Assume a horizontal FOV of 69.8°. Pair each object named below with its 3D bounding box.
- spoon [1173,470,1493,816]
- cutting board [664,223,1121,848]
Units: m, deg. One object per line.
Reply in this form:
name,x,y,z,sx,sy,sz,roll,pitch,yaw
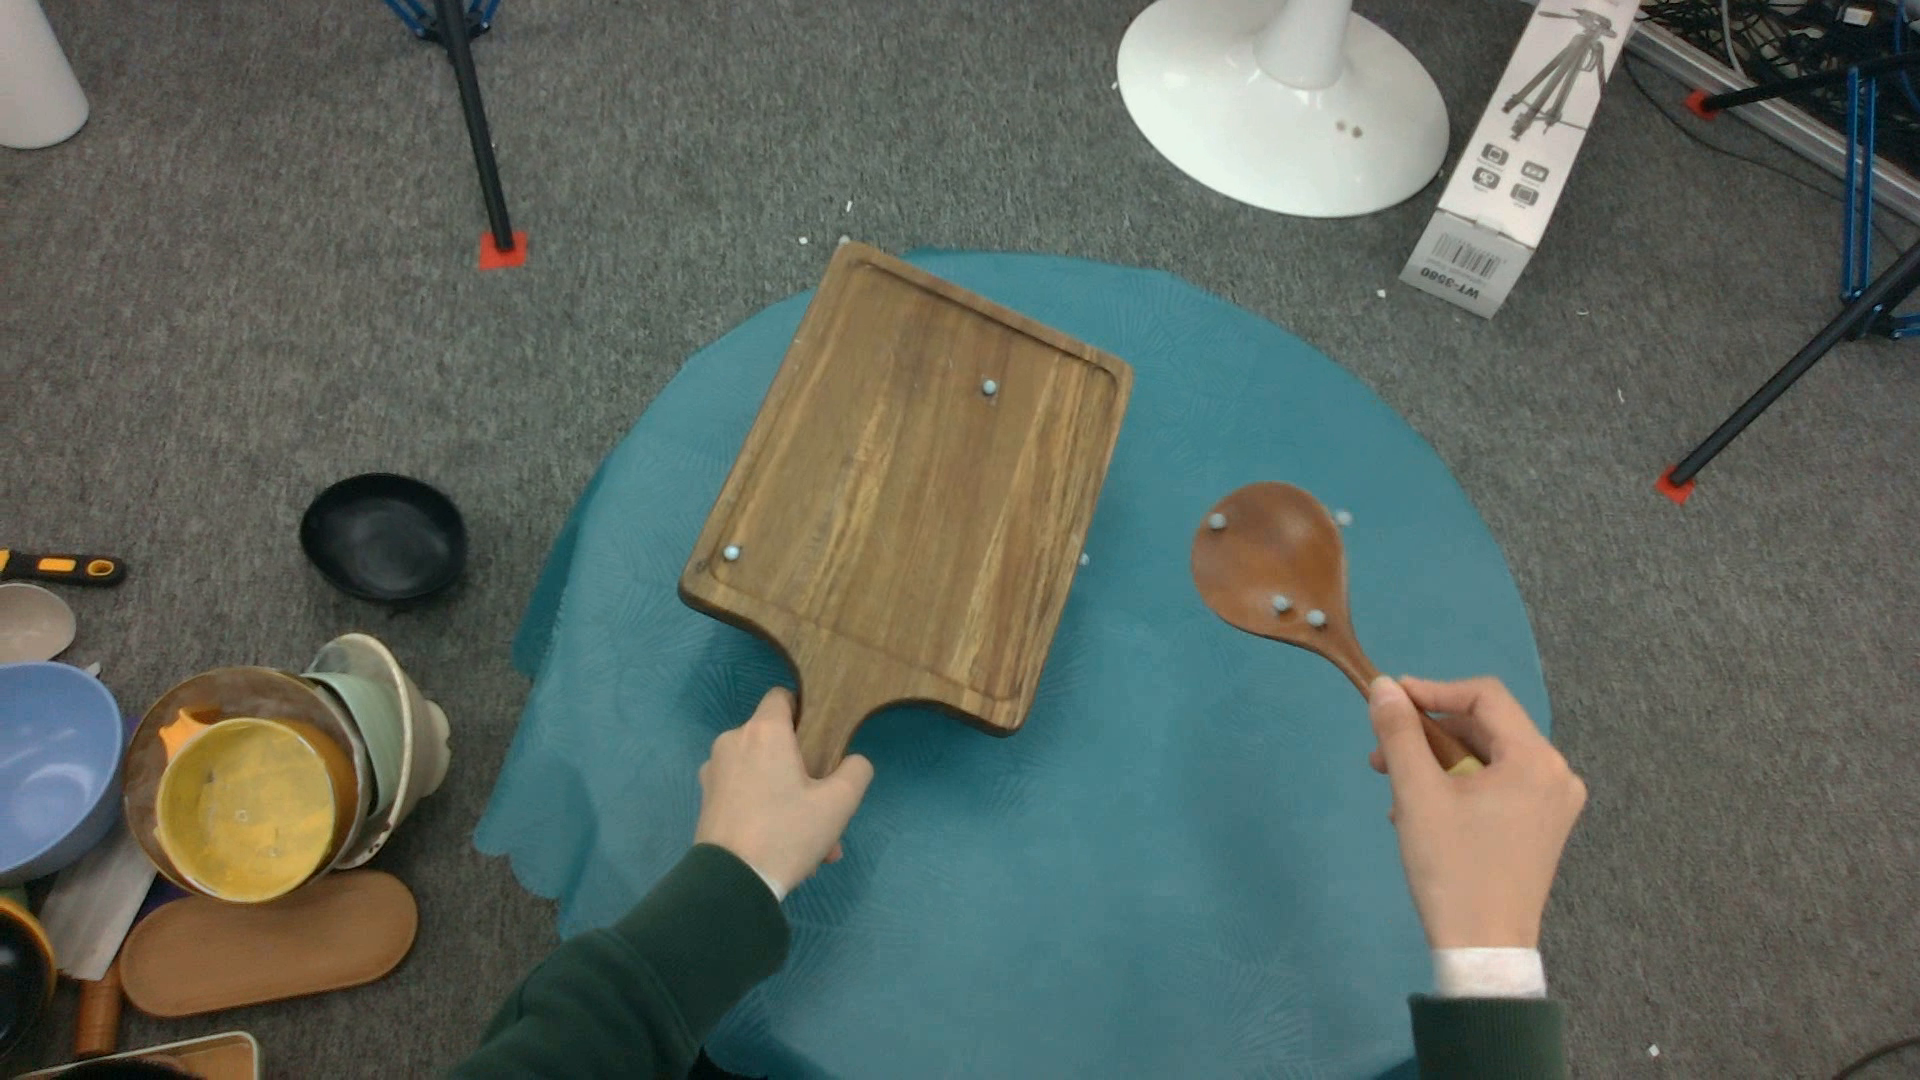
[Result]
spoon,0.168,0.042,0.629,0.075,0.017,0.216,-39,44,7
cutting board,-0.042,-0.002,0.749,0.201,0.023,0.353,24,62,-8
